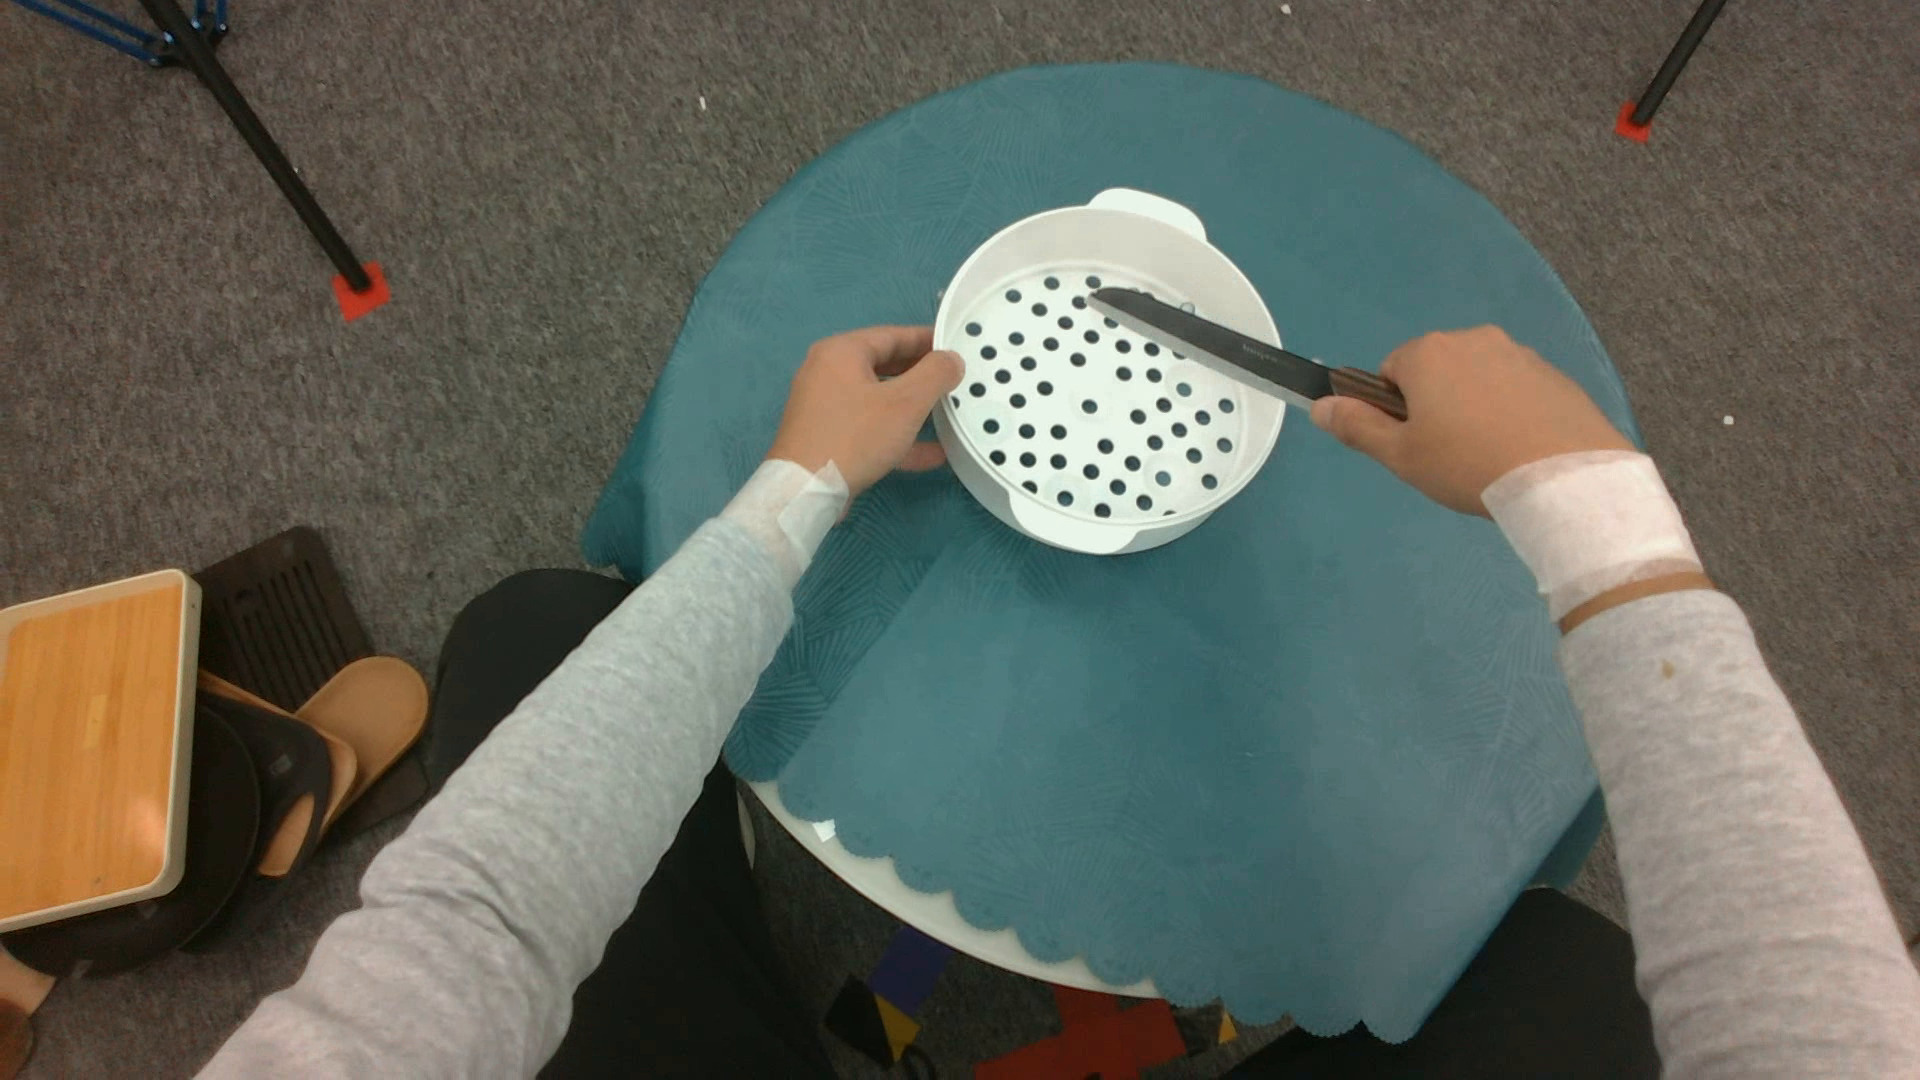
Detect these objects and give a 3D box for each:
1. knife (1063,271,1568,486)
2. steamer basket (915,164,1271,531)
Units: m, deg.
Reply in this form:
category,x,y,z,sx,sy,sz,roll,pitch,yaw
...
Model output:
category,x,y,z,sx,sy,sz,roll,pitch,yaw
knife,0.160,-0.086,0.685,0.289,0.050,0.020,28,70,36
steamer basket,0.073,-0.104,0.792,0.202,0.069,0.231,17,69,-2
